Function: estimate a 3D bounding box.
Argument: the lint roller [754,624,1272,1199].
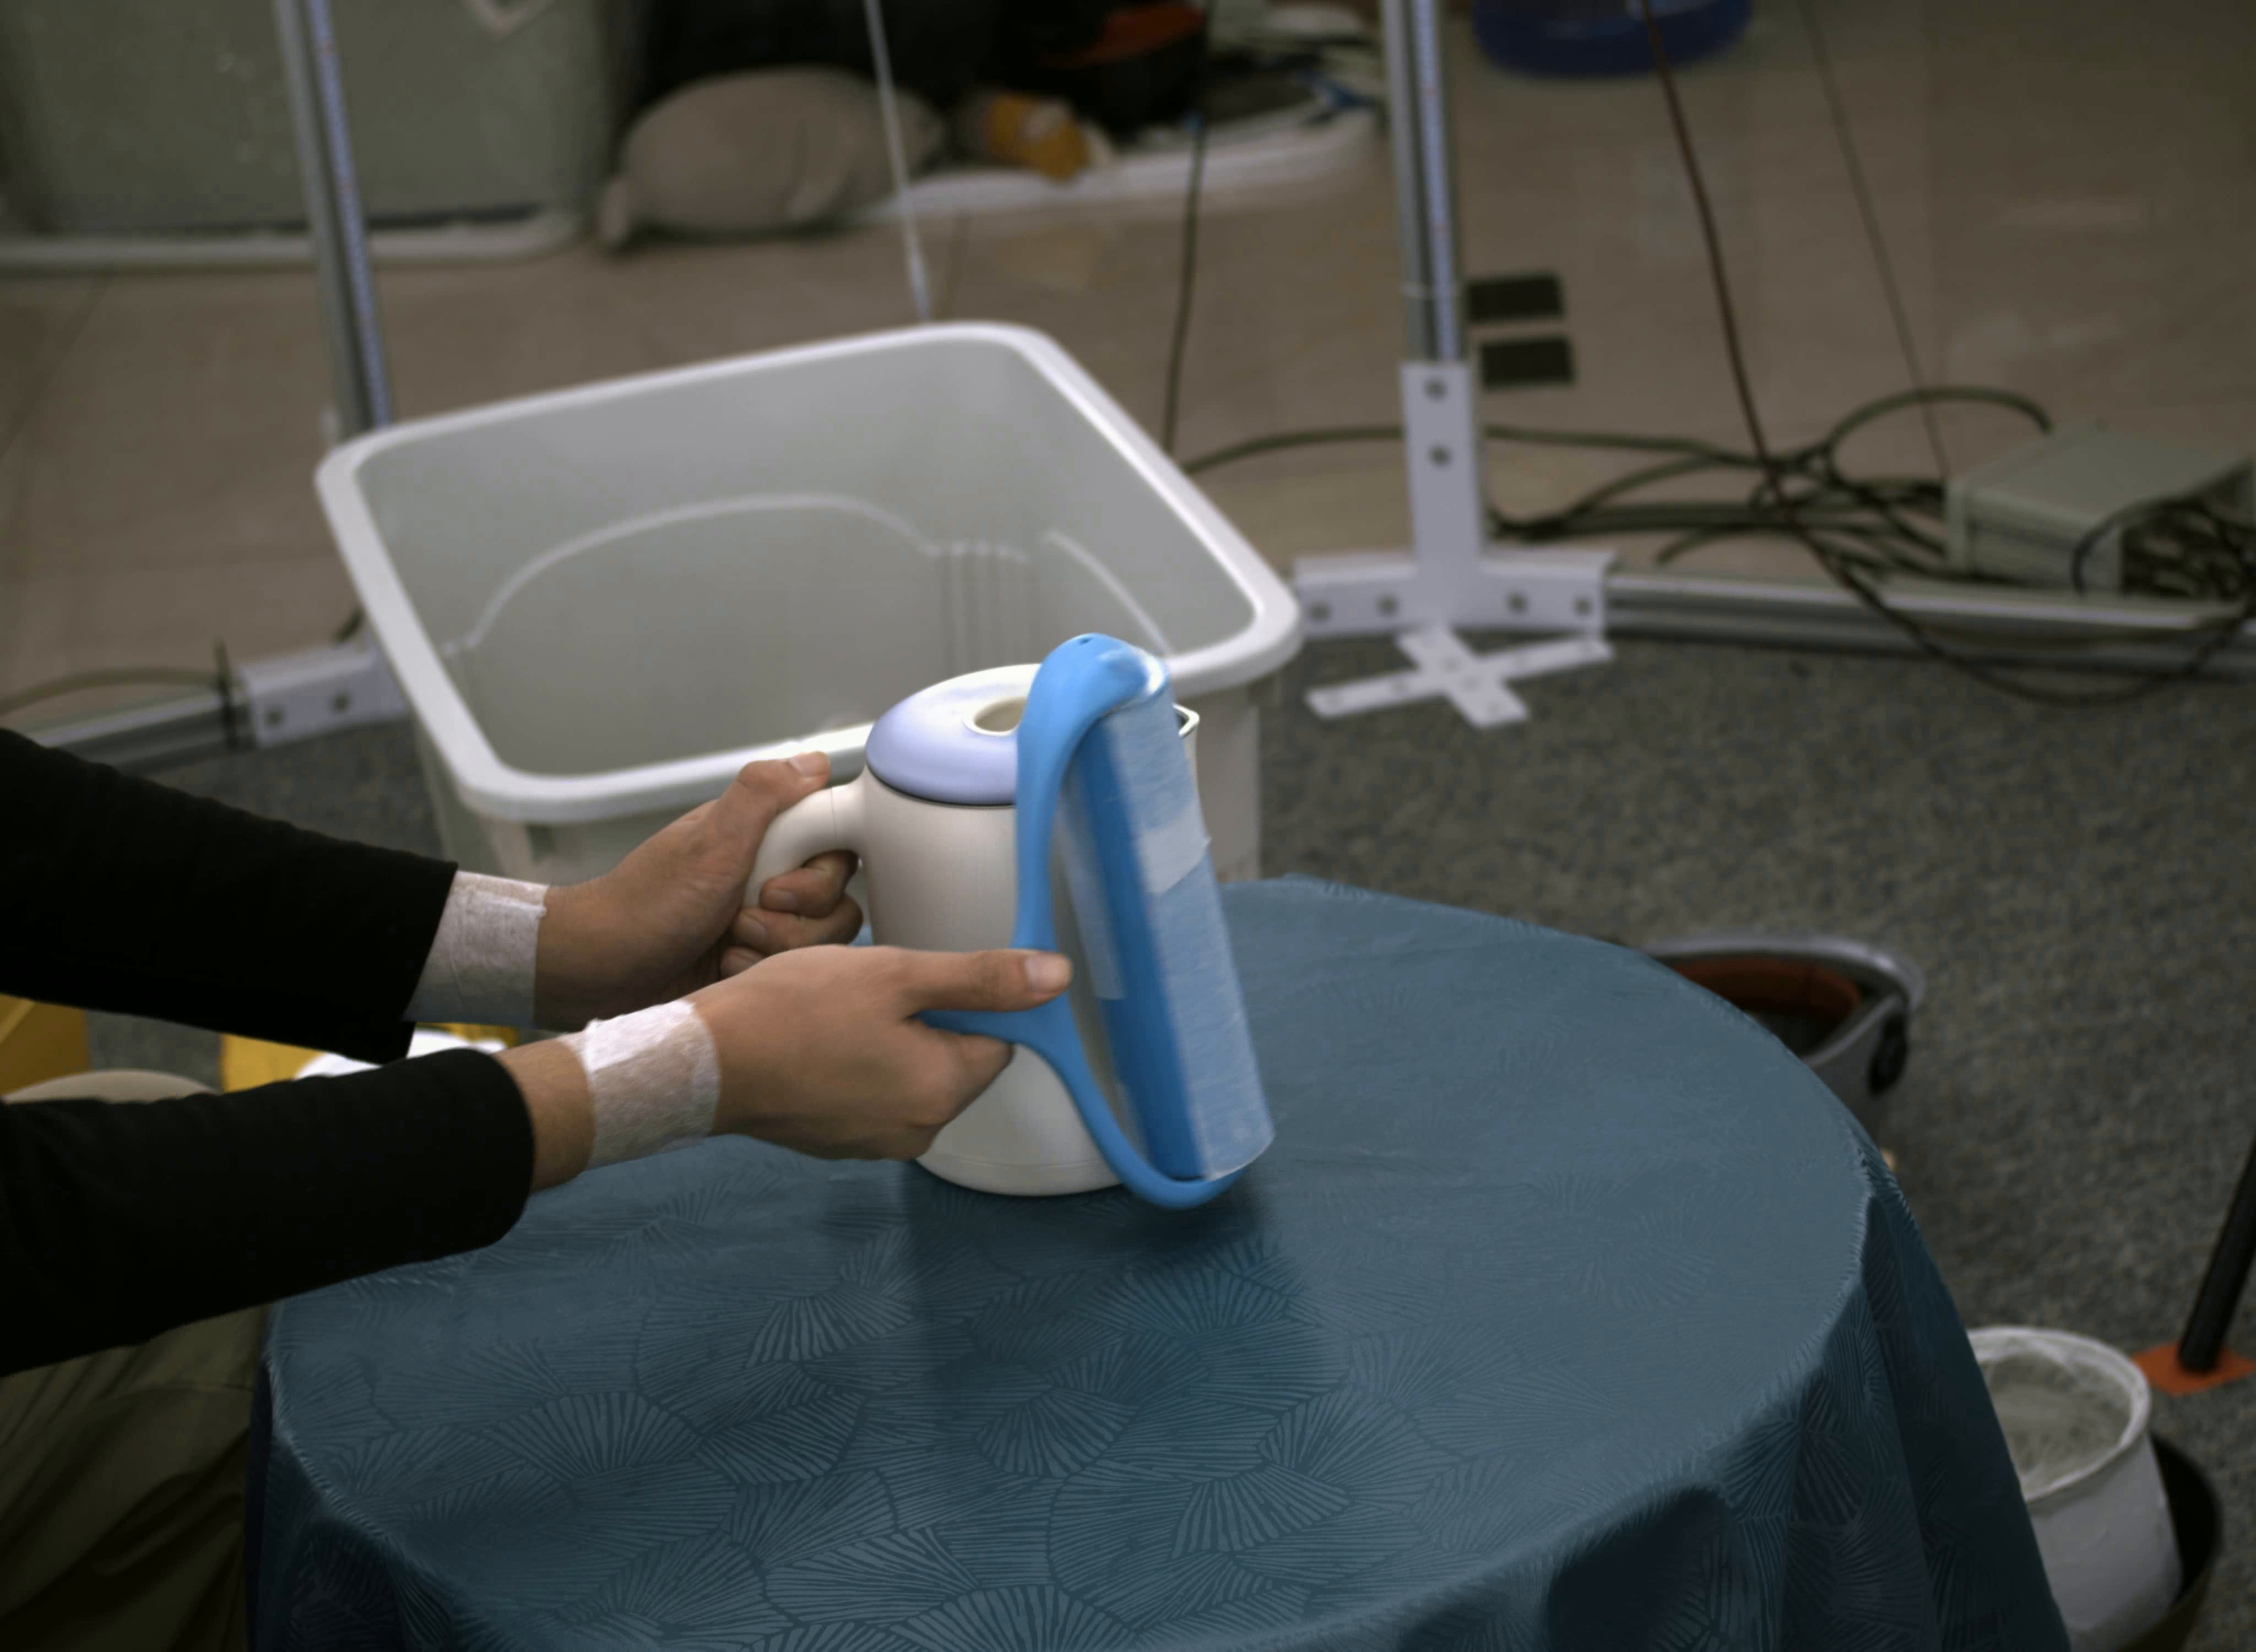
[{"bbox_3d":[-0.043,0.054,2.060,0.179,0.233,0.067,-24,31,-16],"label":"lint roller"}]

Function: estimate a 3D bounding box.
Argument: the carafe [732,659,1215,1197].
[{"bbox_3d":[-0.056,0.043,2.163,0.191,0.185,0.130,-10,25,-3],"label":"carafe"}]
